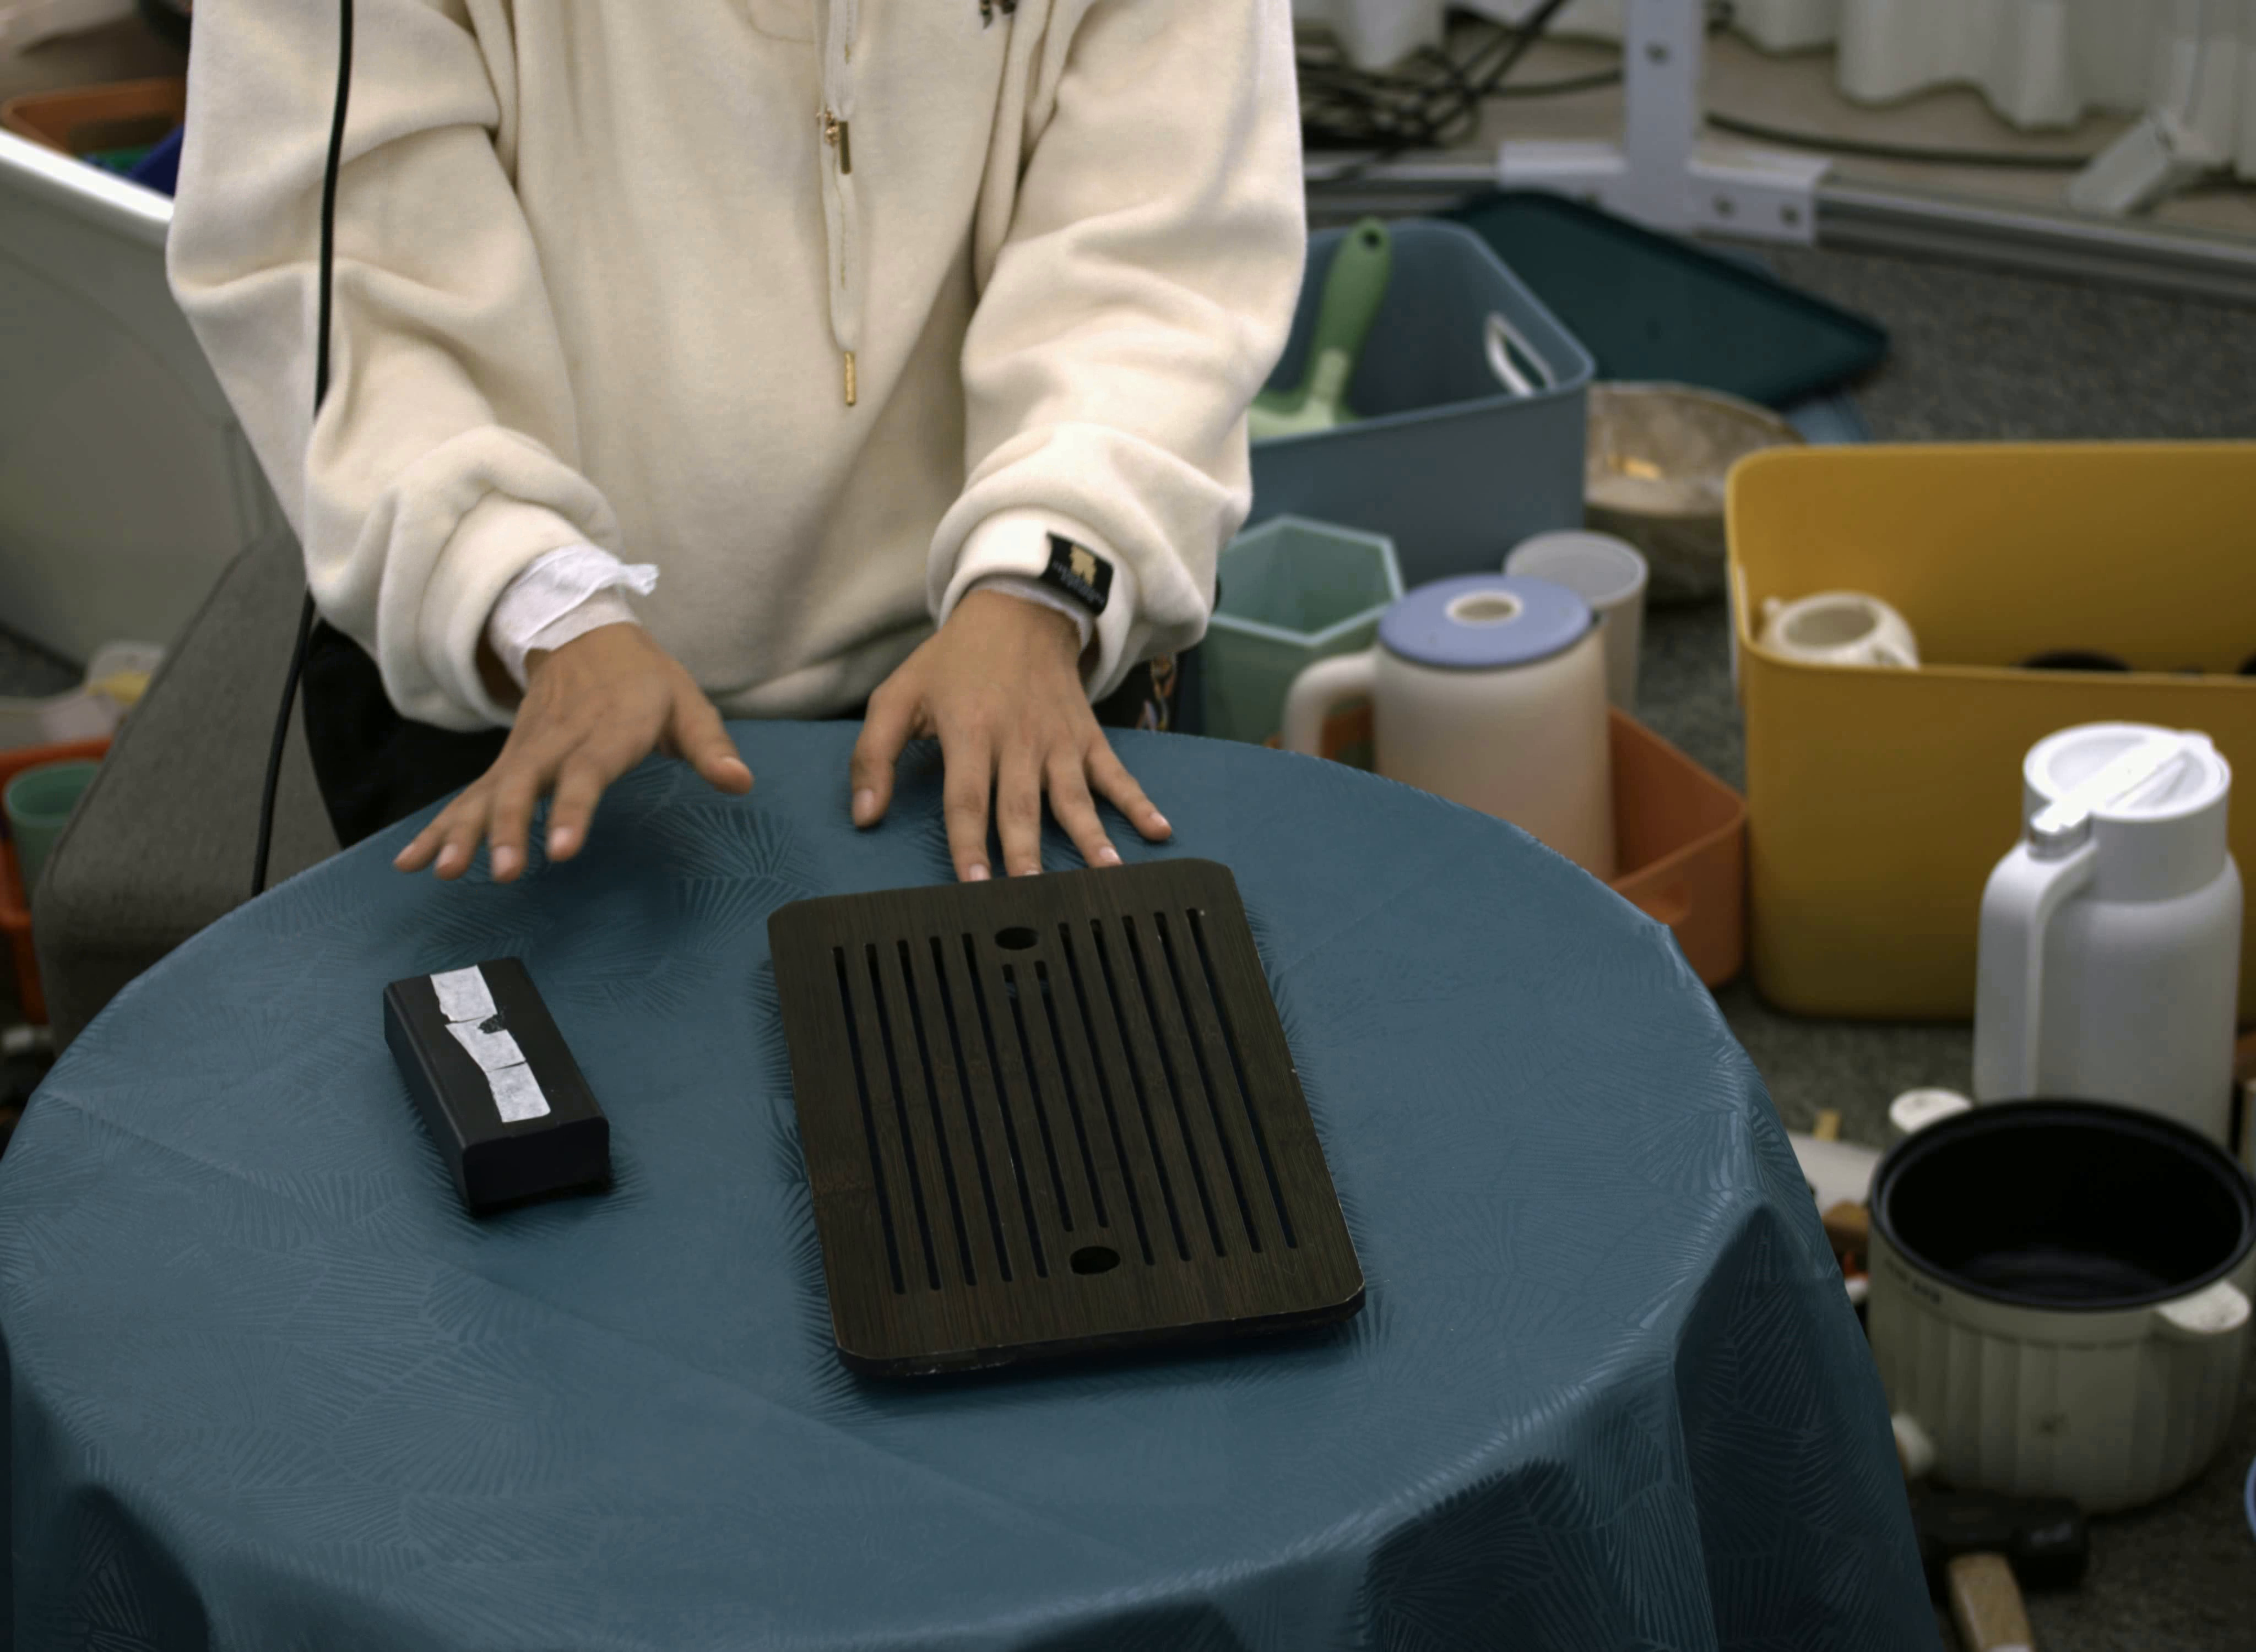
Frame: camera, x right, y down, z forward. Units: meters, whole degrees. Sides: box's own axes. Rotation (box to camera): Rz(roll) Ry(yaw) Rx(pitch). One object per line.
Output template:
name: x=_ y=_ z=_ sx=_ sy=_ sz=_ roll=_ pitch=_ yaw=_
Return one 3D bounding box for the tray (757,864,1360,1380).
tray: x=-0.029 y=0.097 z=1.892 sx=0.170 sy=0.018 sz=0.310 roll=-6 pitch=28 yaw=-6

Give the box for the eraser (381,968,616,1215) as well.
eraser: x=-0.215 y=0.090 z=1.914 sx=0.053 sy=0.030 sz=0.126 roll=-9 pitch=27 yaw=-17
